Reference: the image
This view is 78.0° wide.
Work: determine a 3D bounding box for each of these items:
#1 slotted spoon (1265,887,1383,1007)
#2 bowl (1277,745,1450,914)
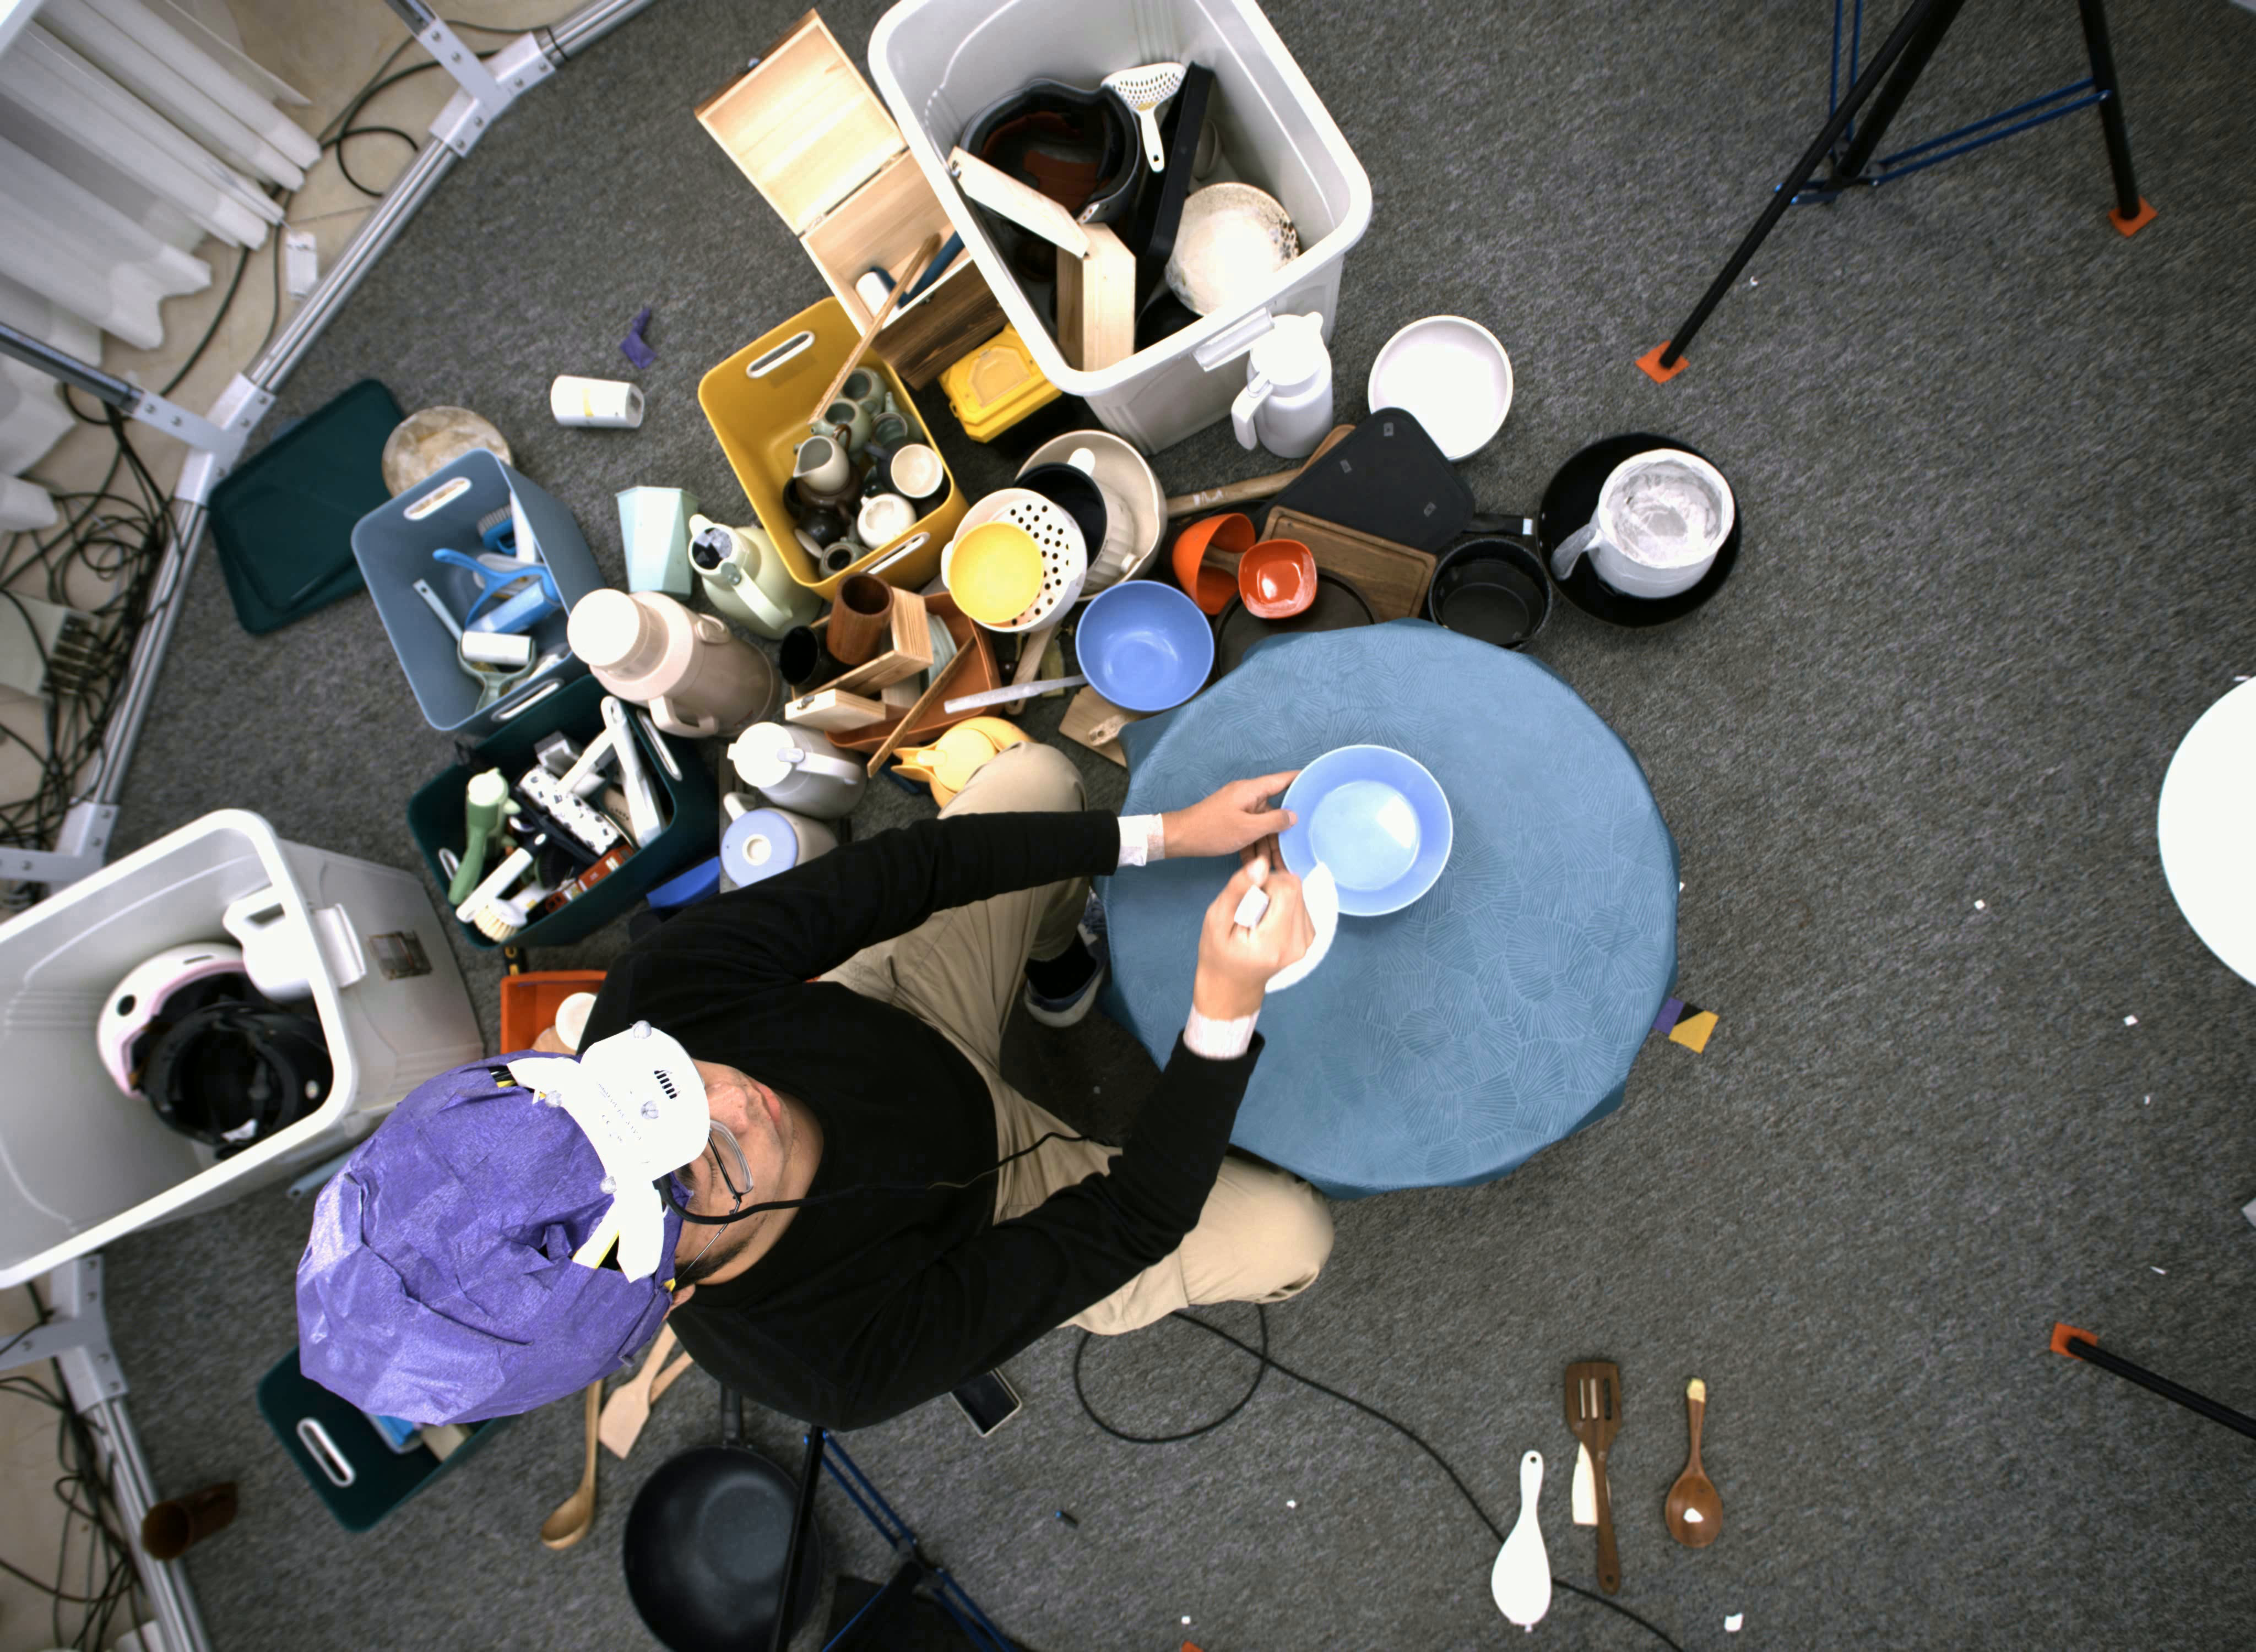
[{"bbox_3d":[0.163,0.104,1.177,0.045,0.350,0.137,38,96,22],"label":"slotted spoon"},{"bbox_3d":[0.244,0.006,1.433,0.177,0.070,0.175,-1,87,11],"label":"bowl"}]
